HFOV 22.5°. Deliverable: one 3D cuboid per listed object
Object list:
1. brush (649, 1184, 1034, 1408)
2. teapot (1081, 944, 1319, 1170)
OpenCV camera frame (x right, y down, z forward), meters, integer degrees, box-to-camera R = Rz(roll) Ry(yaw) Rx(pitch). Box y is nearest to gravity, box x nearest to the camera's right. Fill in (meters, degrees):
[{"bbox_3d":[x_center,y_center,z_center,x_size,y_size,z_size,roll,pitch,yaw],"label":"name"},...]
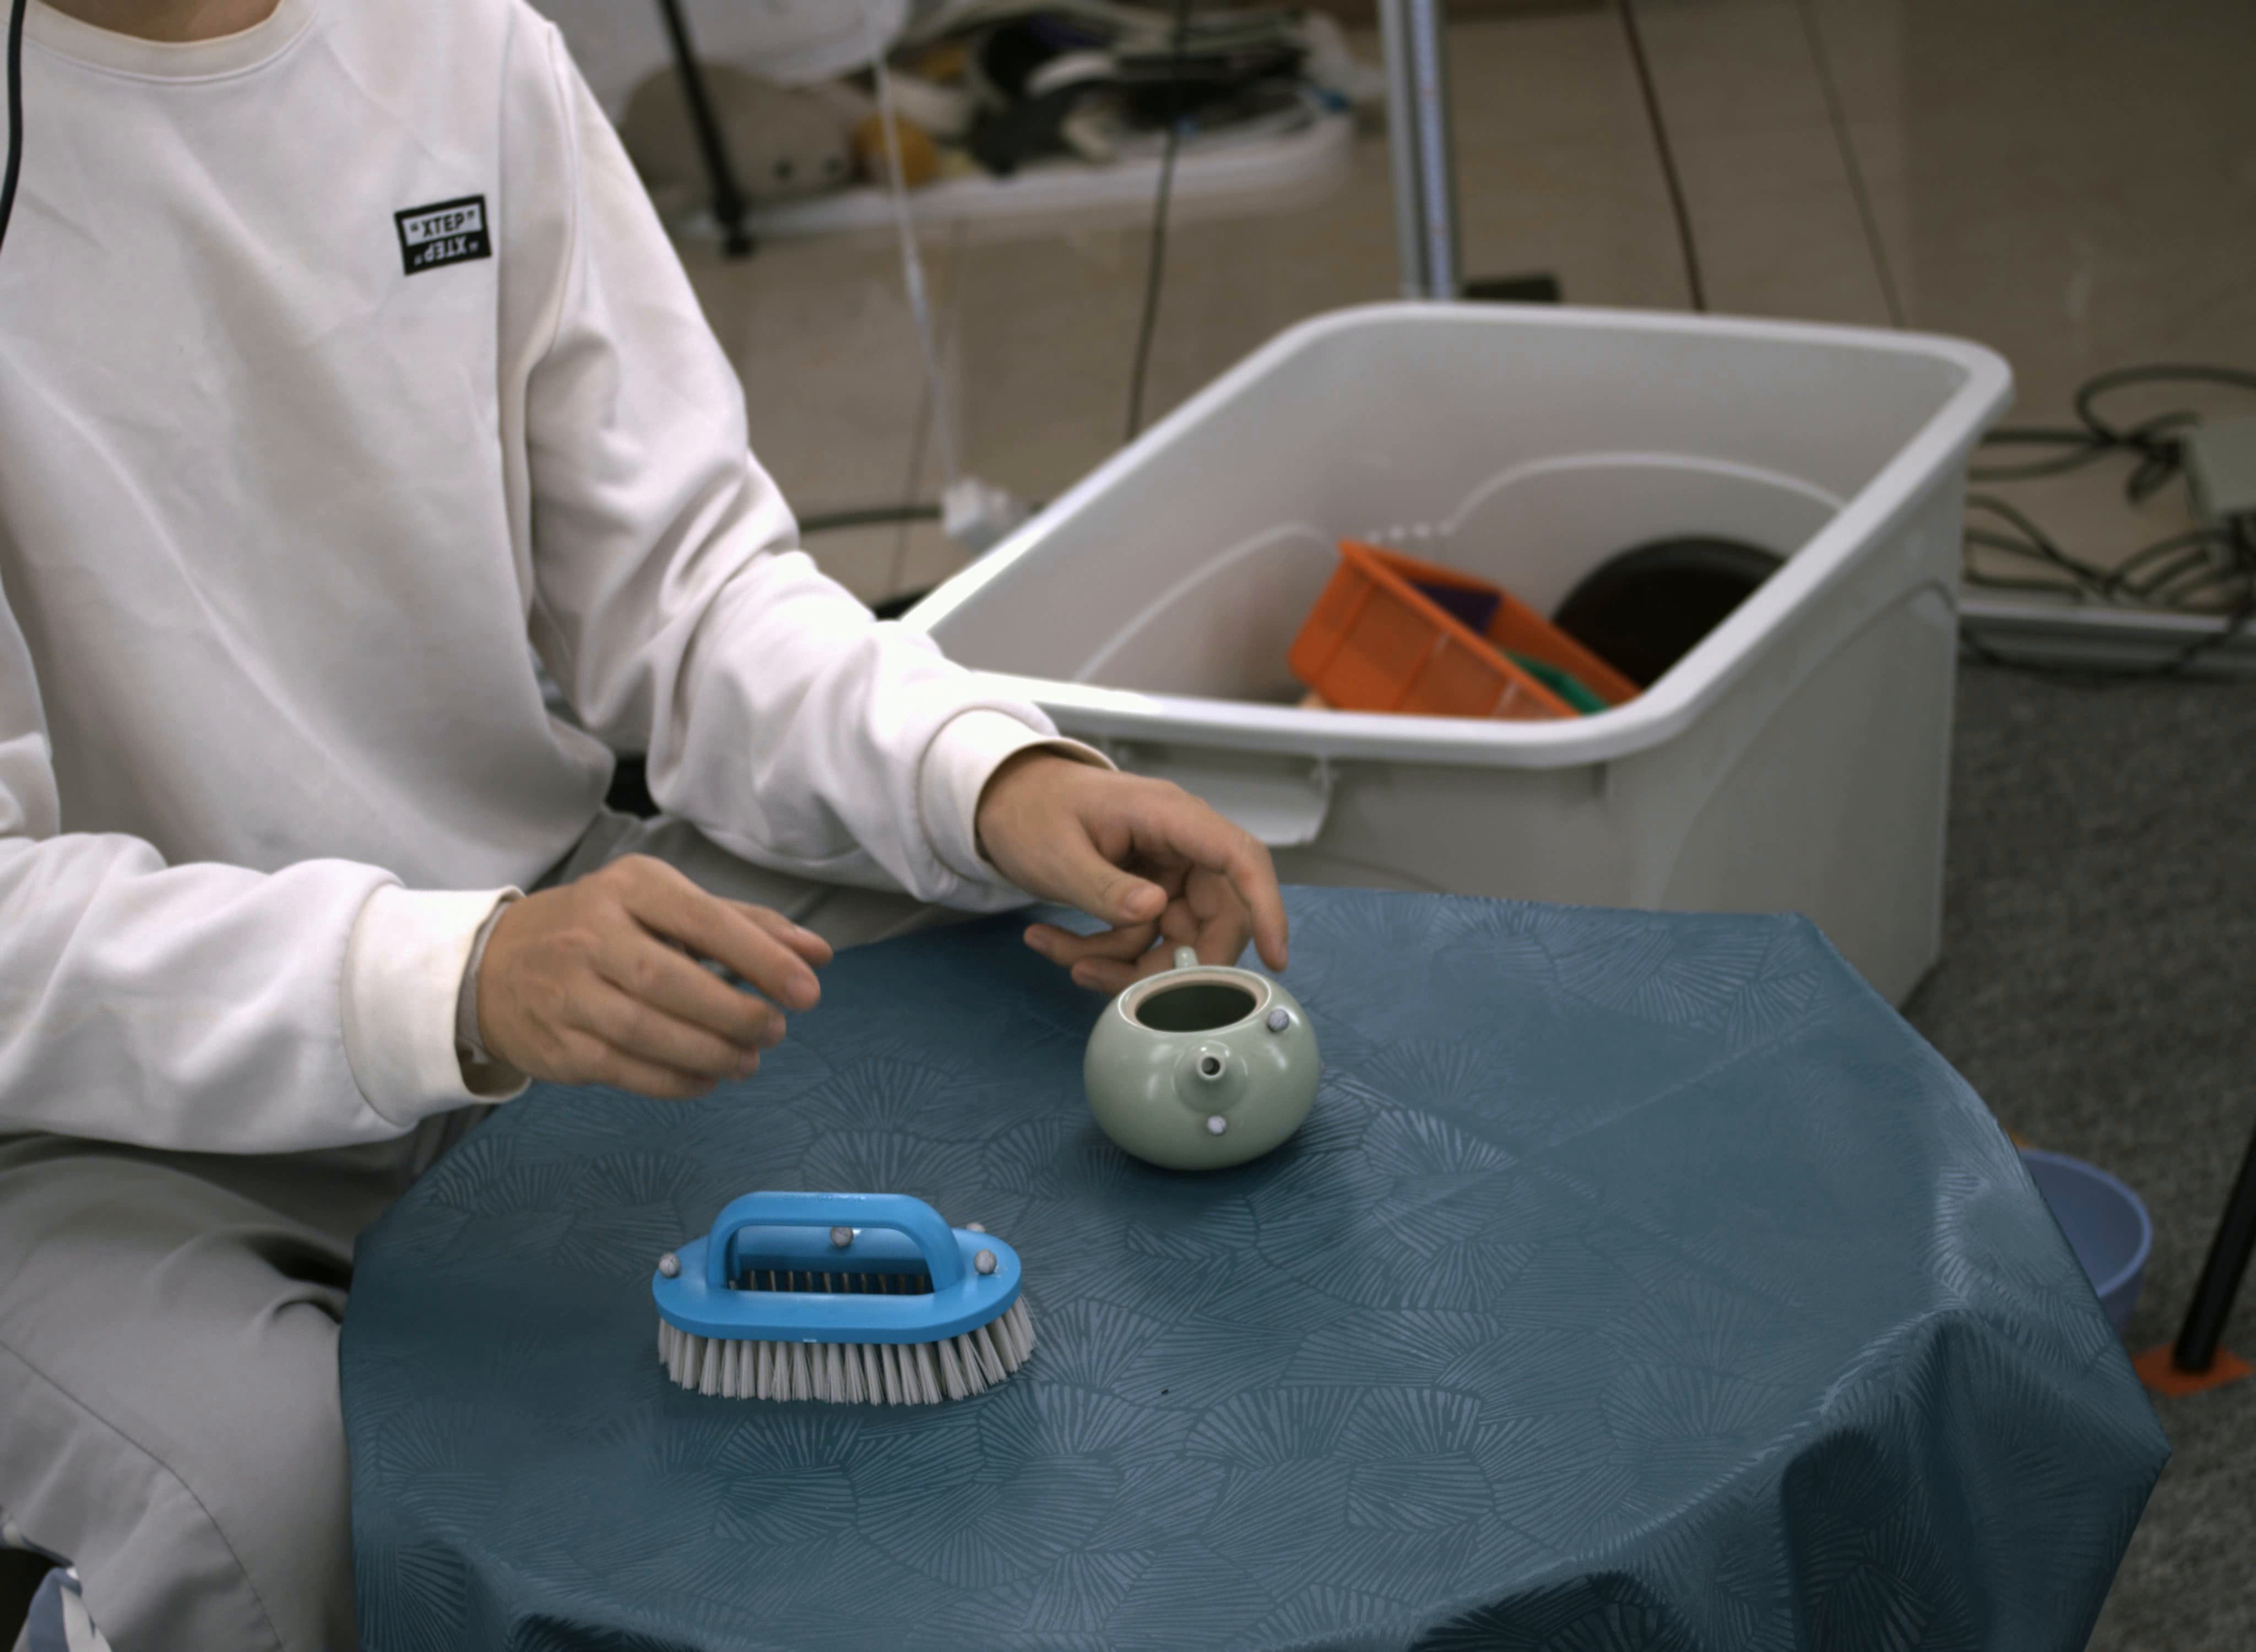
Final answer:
[{"bbox_3d":[-0.107,0.160,2.047,0.141,0.065,0.083,1,32,16],"label":"brush"},{"bbox_3d":[0.027,0.089,2.177,0.091,0.062,0.126,-8,24,2],"label":"teapot"}]
